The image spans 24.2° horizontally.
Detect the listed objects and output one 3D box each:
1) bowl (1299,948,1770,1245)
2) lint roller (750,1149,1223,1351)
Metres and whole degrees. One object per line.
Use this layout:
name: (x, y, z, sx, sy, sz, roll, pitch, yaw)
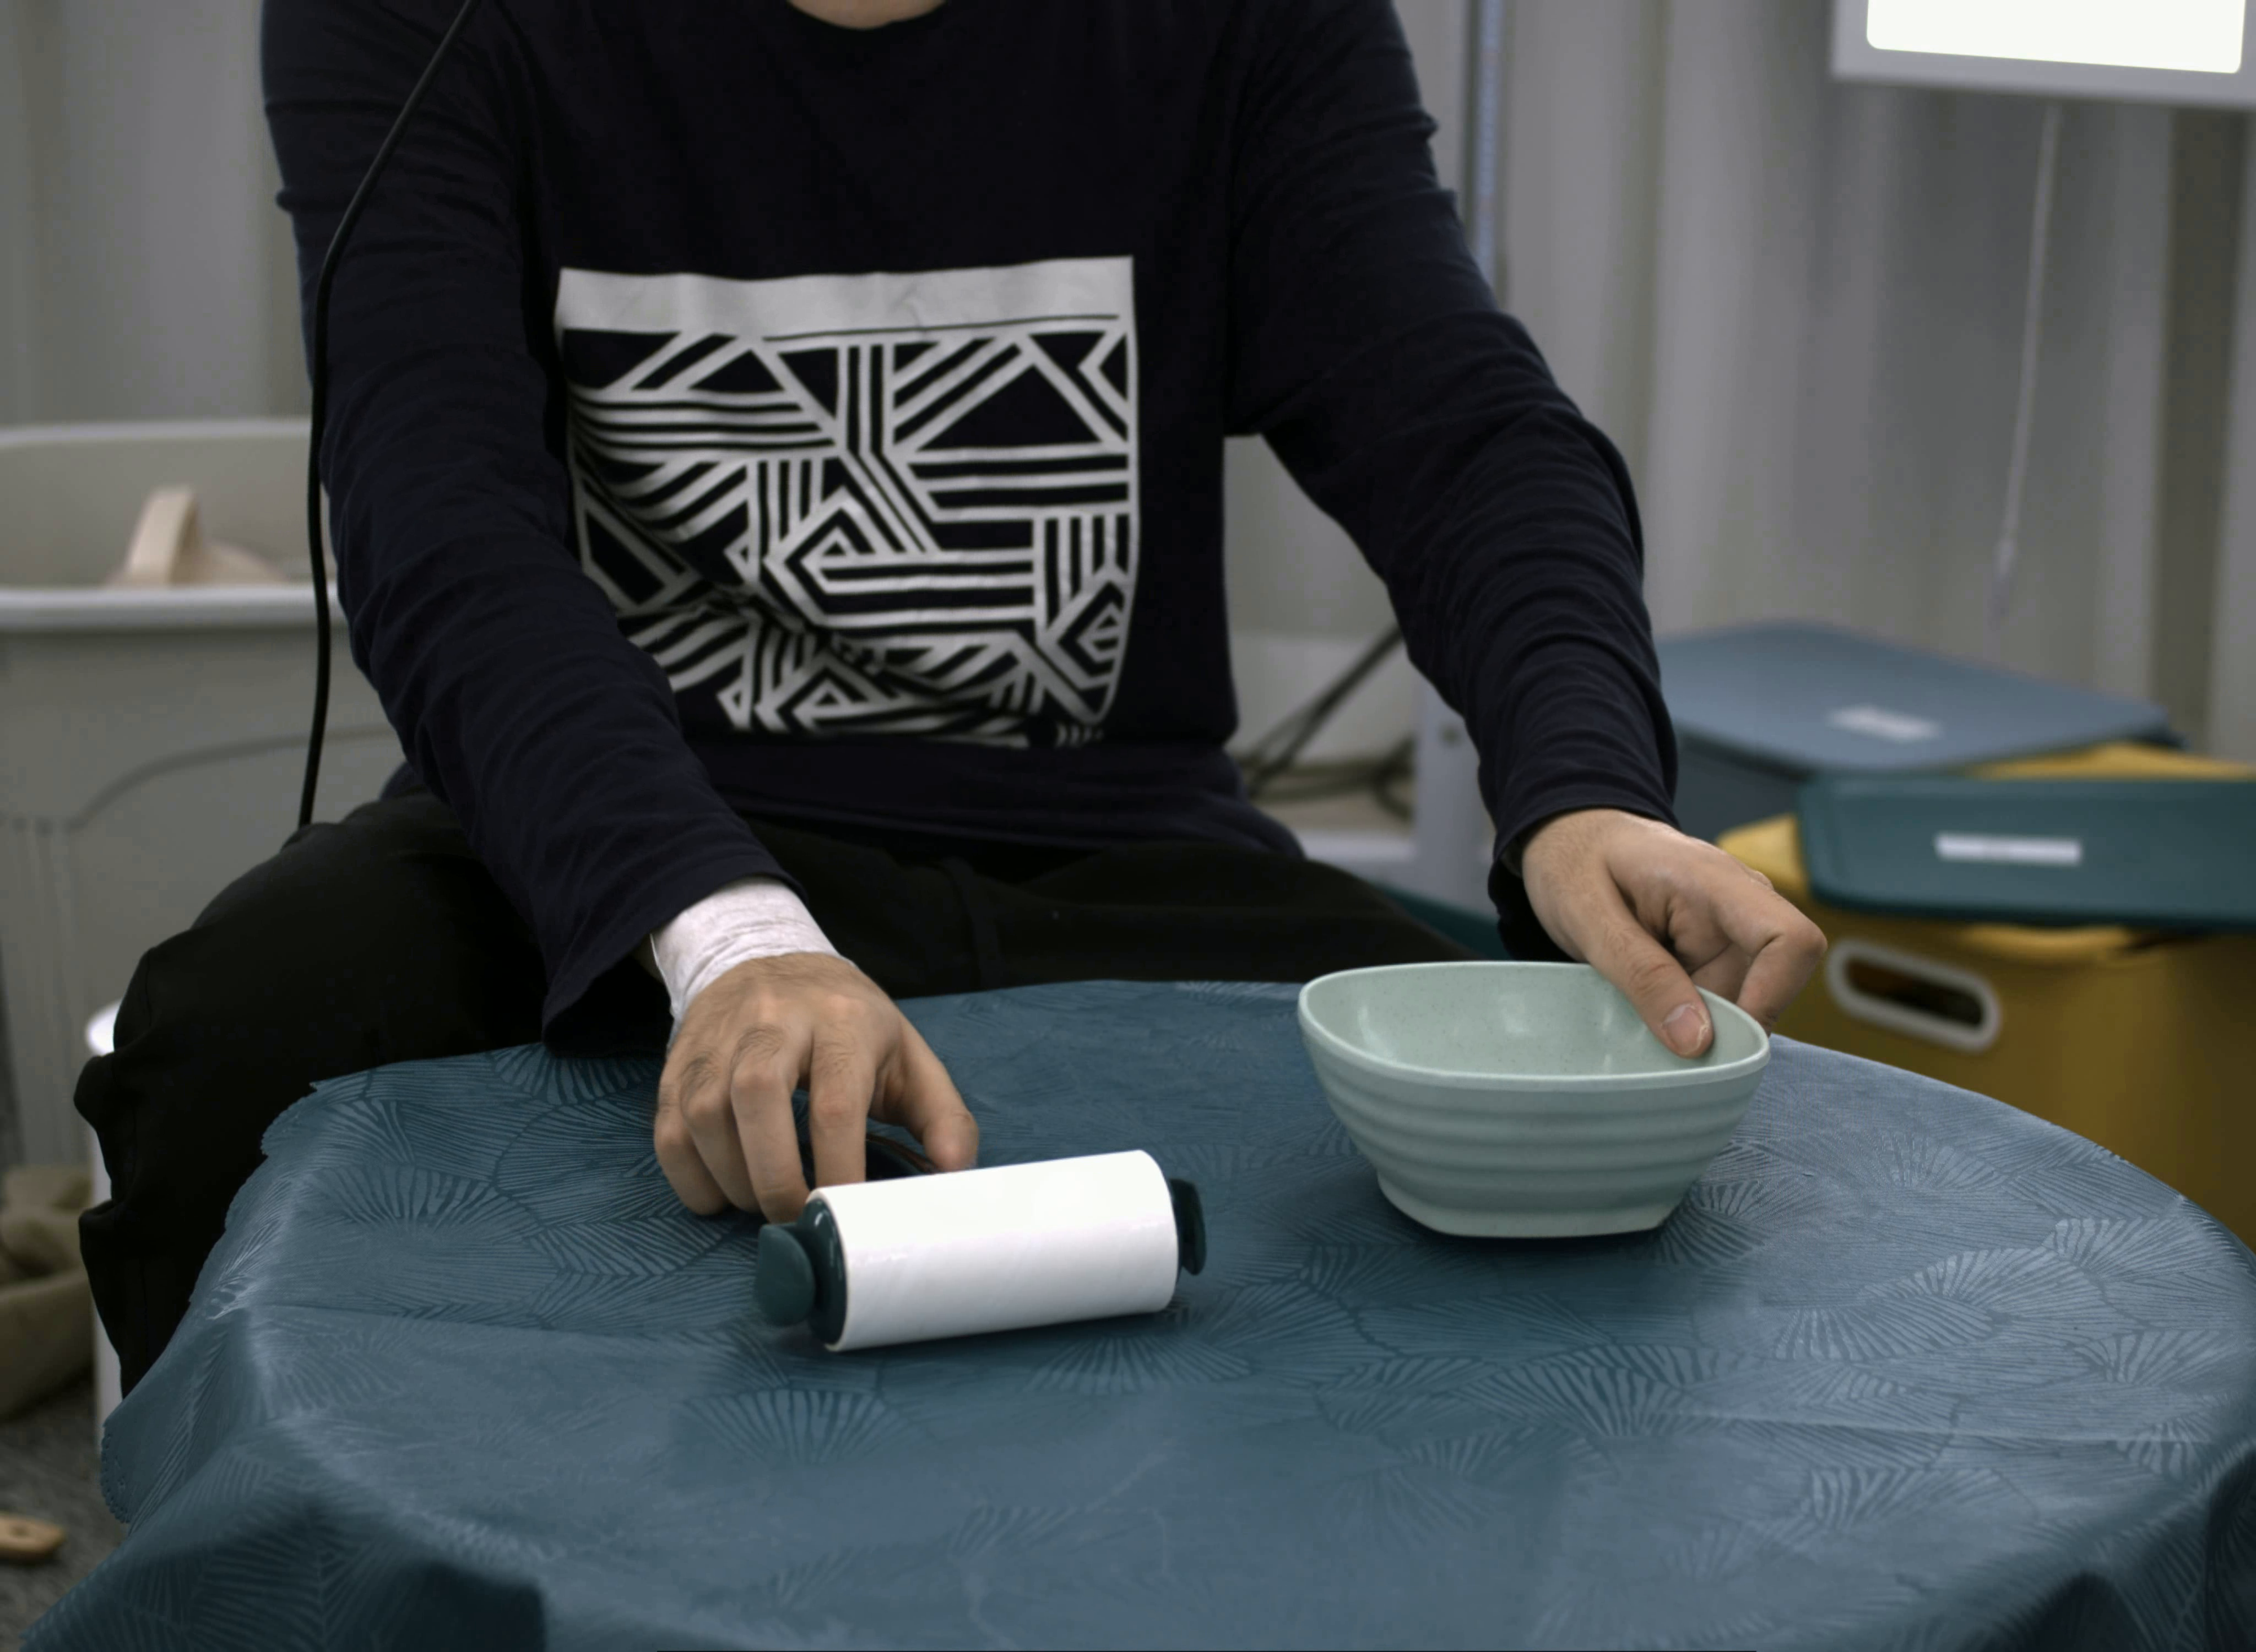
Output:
bowl: (0.122, 0.085, 1.606, 0.151, 0.059, 0.150, 1, 16, 0)
lint roller: (-0.064, 0.108, 1.563, 0.135, 0.048, 0.178, -5, 13, -21)
